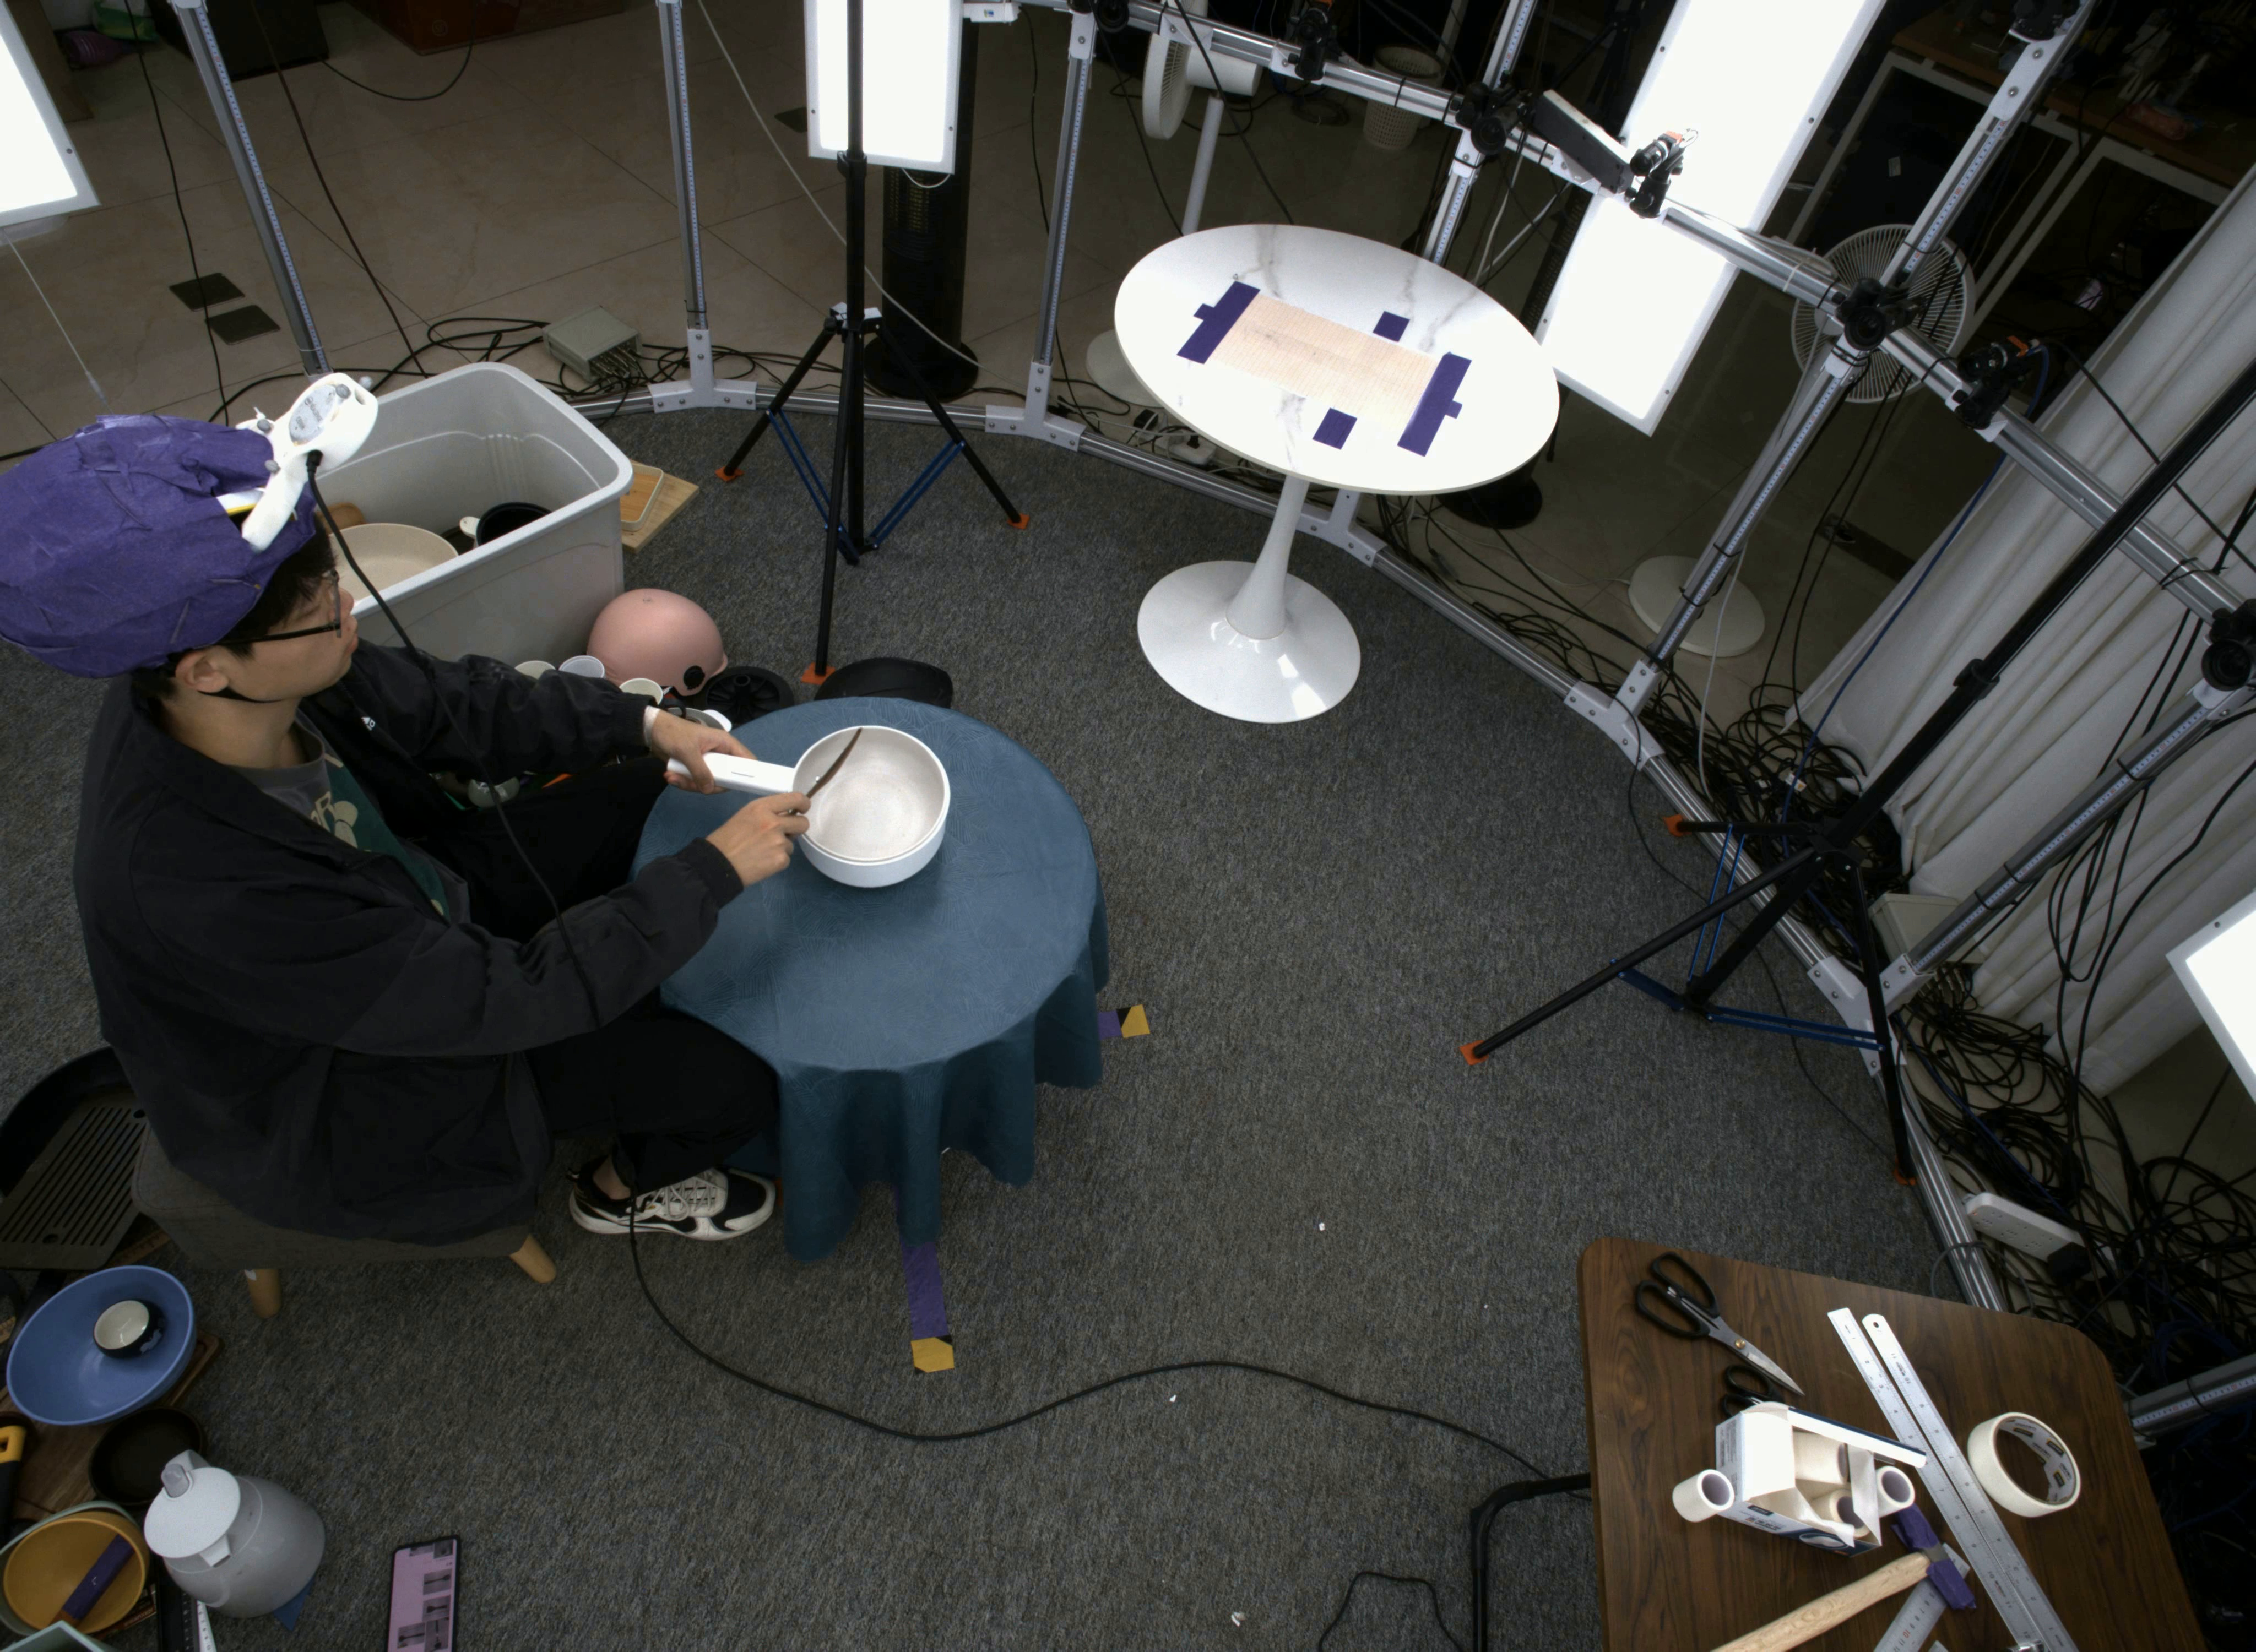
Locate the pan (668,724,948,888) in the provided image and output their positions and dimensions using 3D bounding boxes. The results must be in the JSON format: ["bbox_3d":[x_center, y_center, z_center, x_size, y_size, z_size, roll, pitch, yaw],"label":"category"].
[{"bbox_3d":[-0.407,-0.035,1.668,0.353,0.103,0.199,10,63,-5],"label":"pan"}]

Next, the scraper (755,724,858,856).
[{"bbox_3d":[-0.389,-0.042,1.573,0.011,0.076,0.210,36,53,-5],"label":"scraper"}]
